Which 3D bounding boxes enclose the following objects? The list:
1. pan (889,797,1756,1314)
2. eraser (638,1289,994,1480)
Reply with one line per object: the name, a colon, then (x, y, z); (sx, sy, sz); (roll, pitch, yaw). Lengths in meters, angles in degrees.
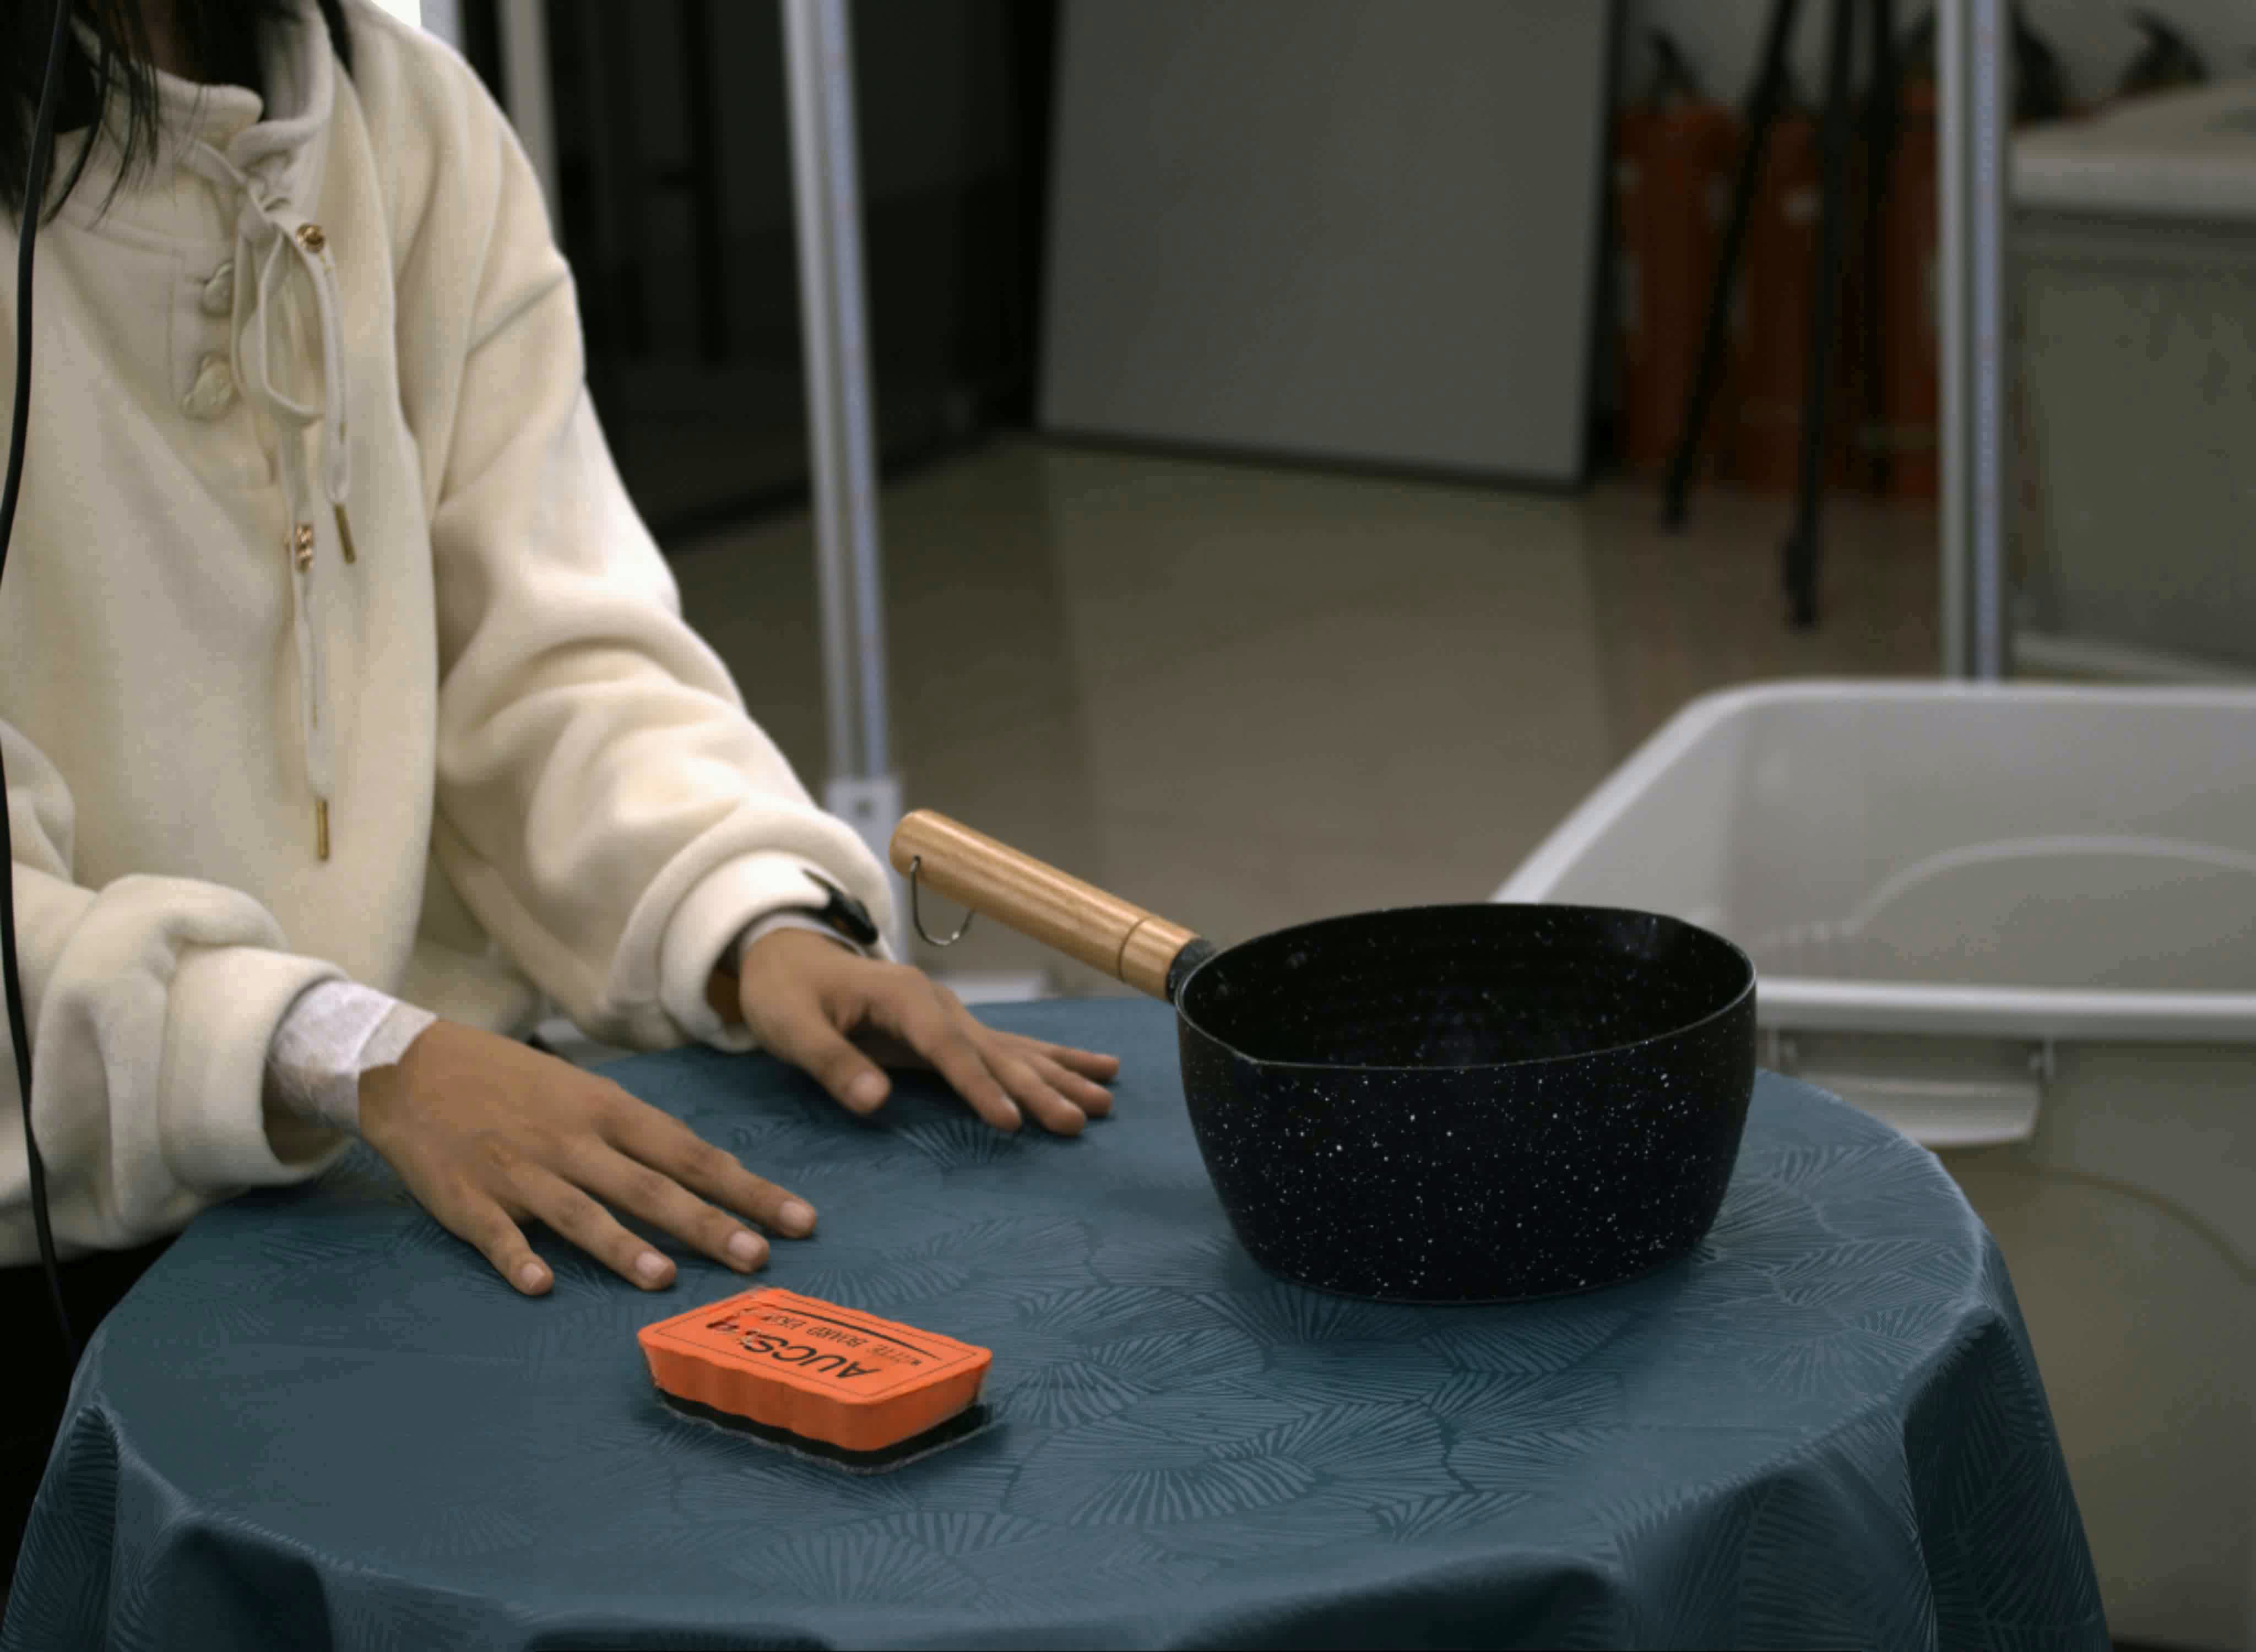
pan: (0.048, 0.067, 1.747); (0.346, 0.109, 0.203); (10, 21, 41)
eraser: (-0.091, 0.163, 1.580); (0.058, 0.023, 0.109); (-18, 19, -40)
